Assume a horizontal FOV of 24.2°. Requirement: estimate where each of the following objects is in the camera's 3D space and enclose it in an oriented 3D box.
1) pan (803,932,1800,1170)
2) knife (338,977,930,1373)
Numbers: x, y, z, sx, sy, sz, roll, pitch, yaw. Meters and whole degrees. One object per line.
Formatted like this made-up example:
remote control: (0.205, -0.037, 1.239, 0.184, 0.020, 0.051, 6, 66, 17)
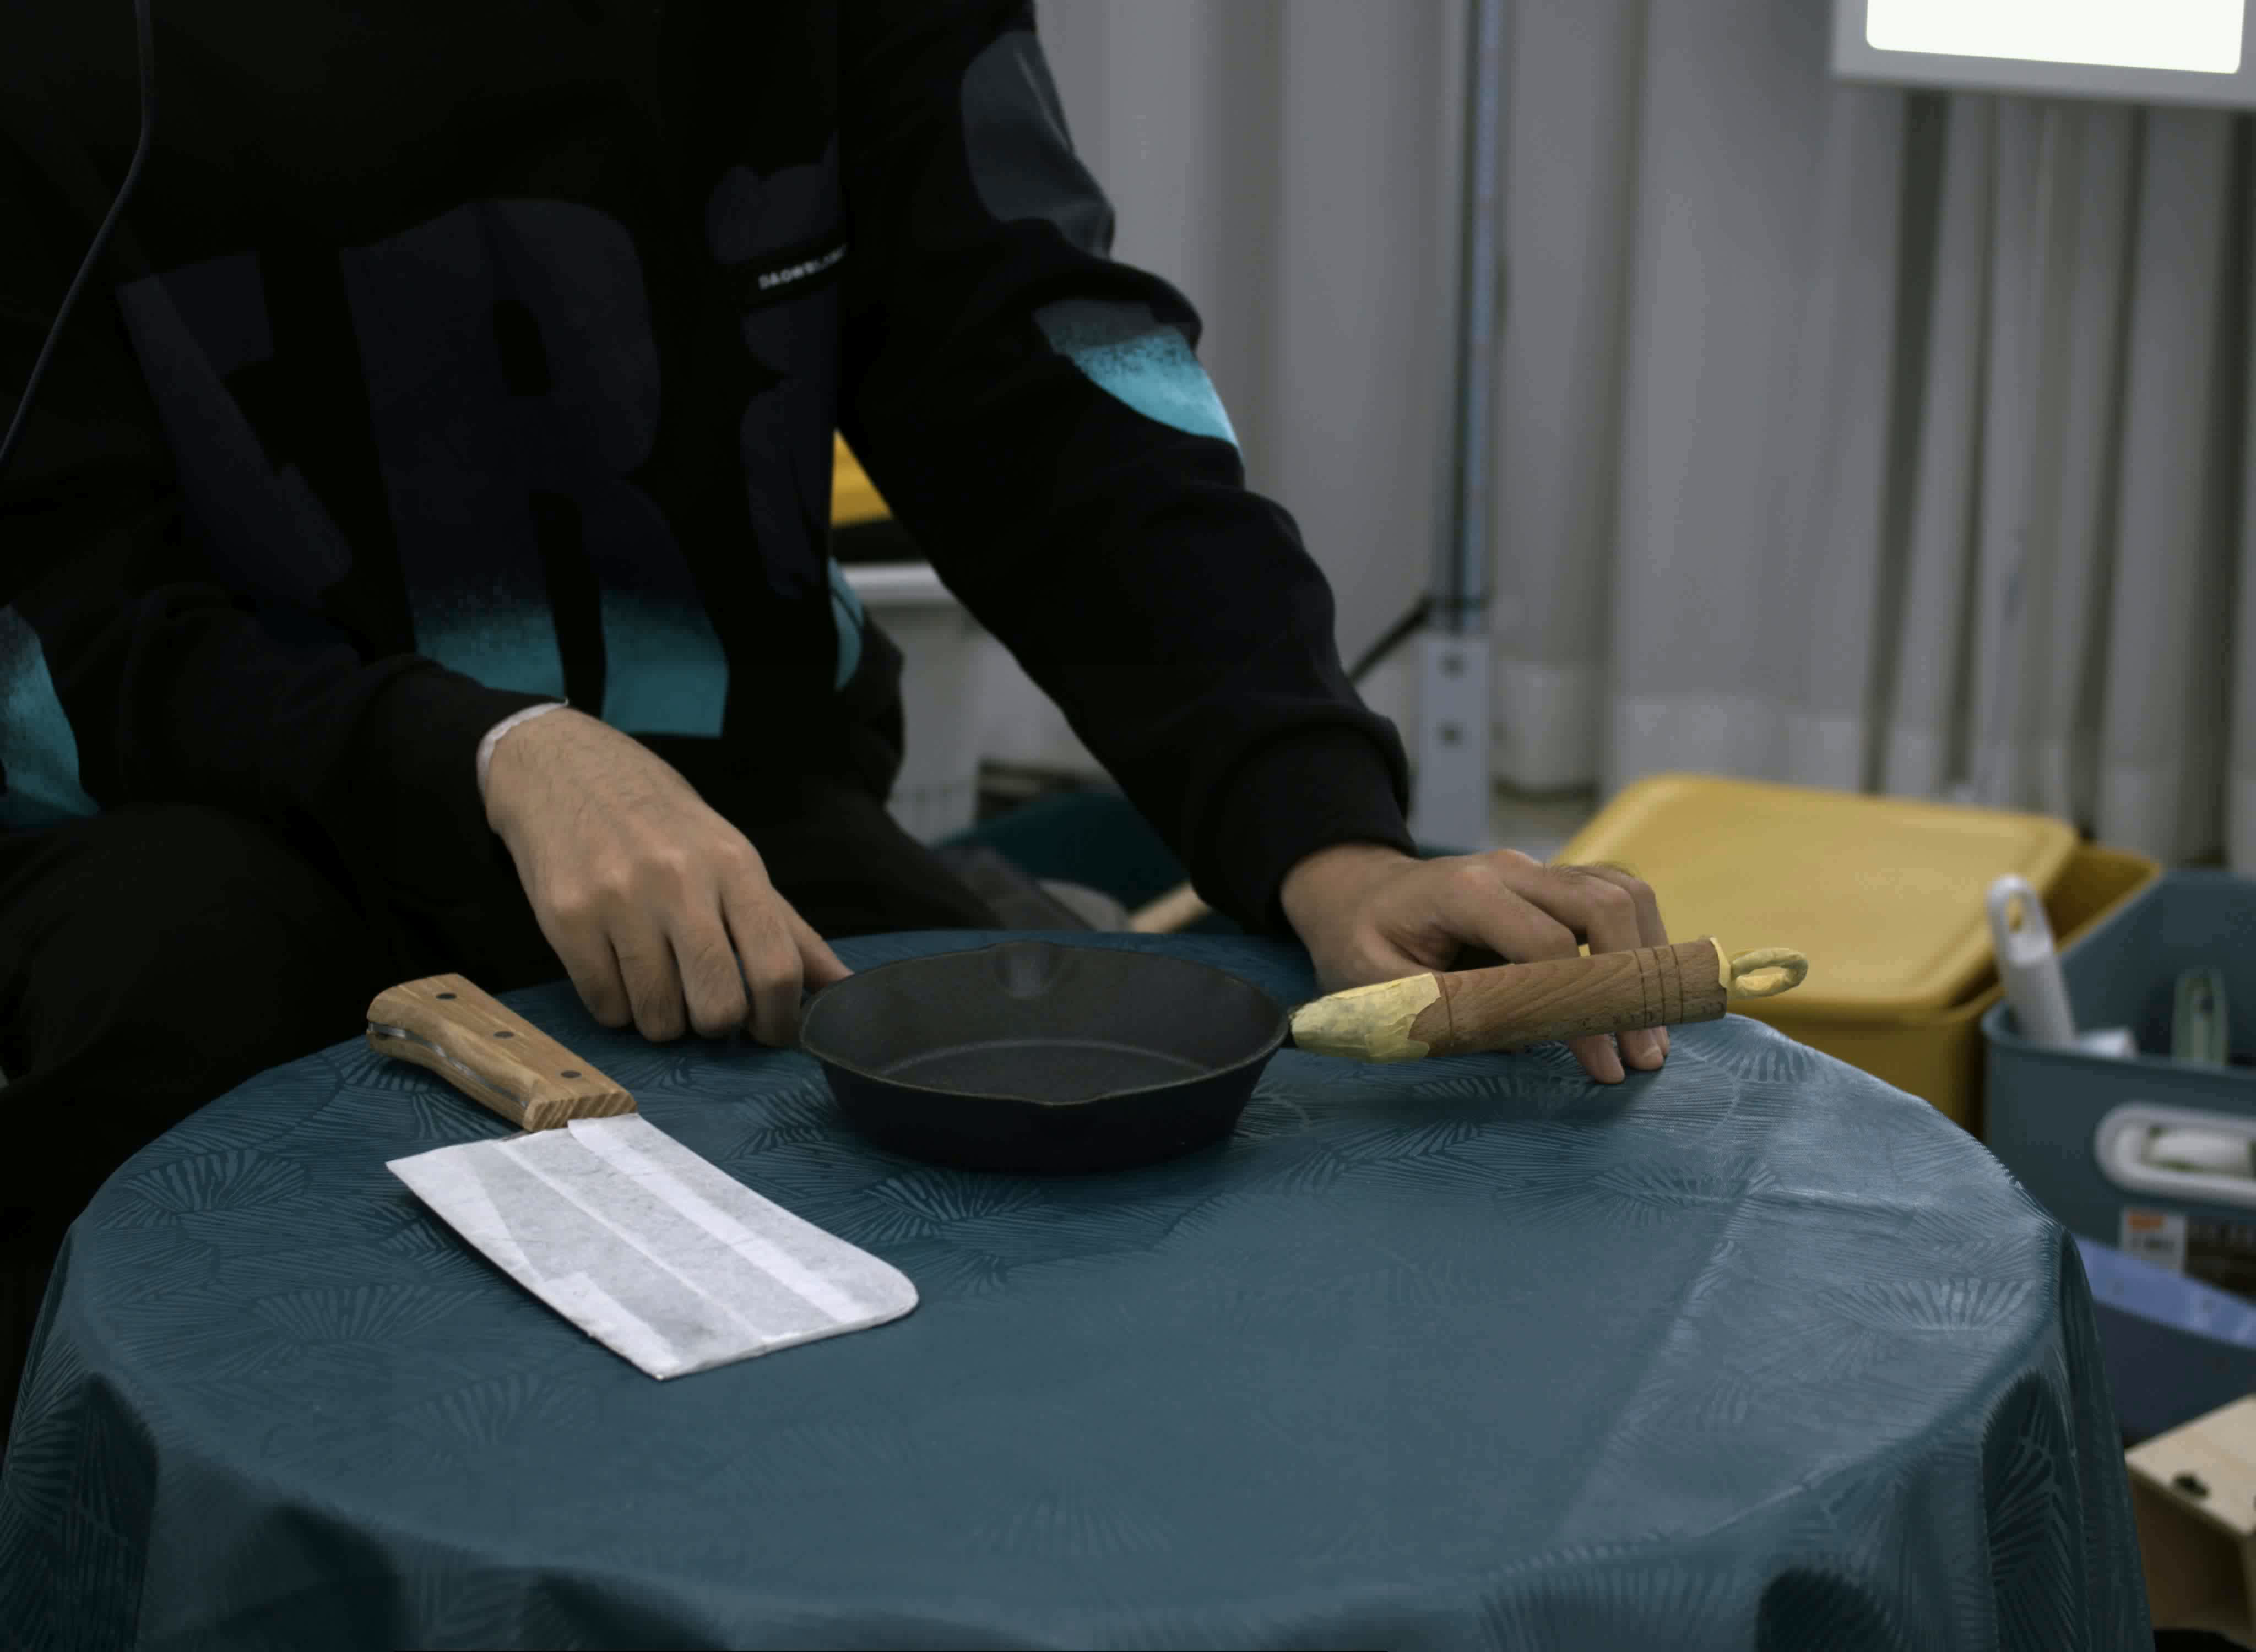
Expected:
pan: (0.058, 0.066, 1.695, 0.323, 0.050, 0.168, -2, 15, -5)
knife: (-0.167, 0.104, 1.614, 0.114, 0.022, 0.311, -8, 20, -28)
